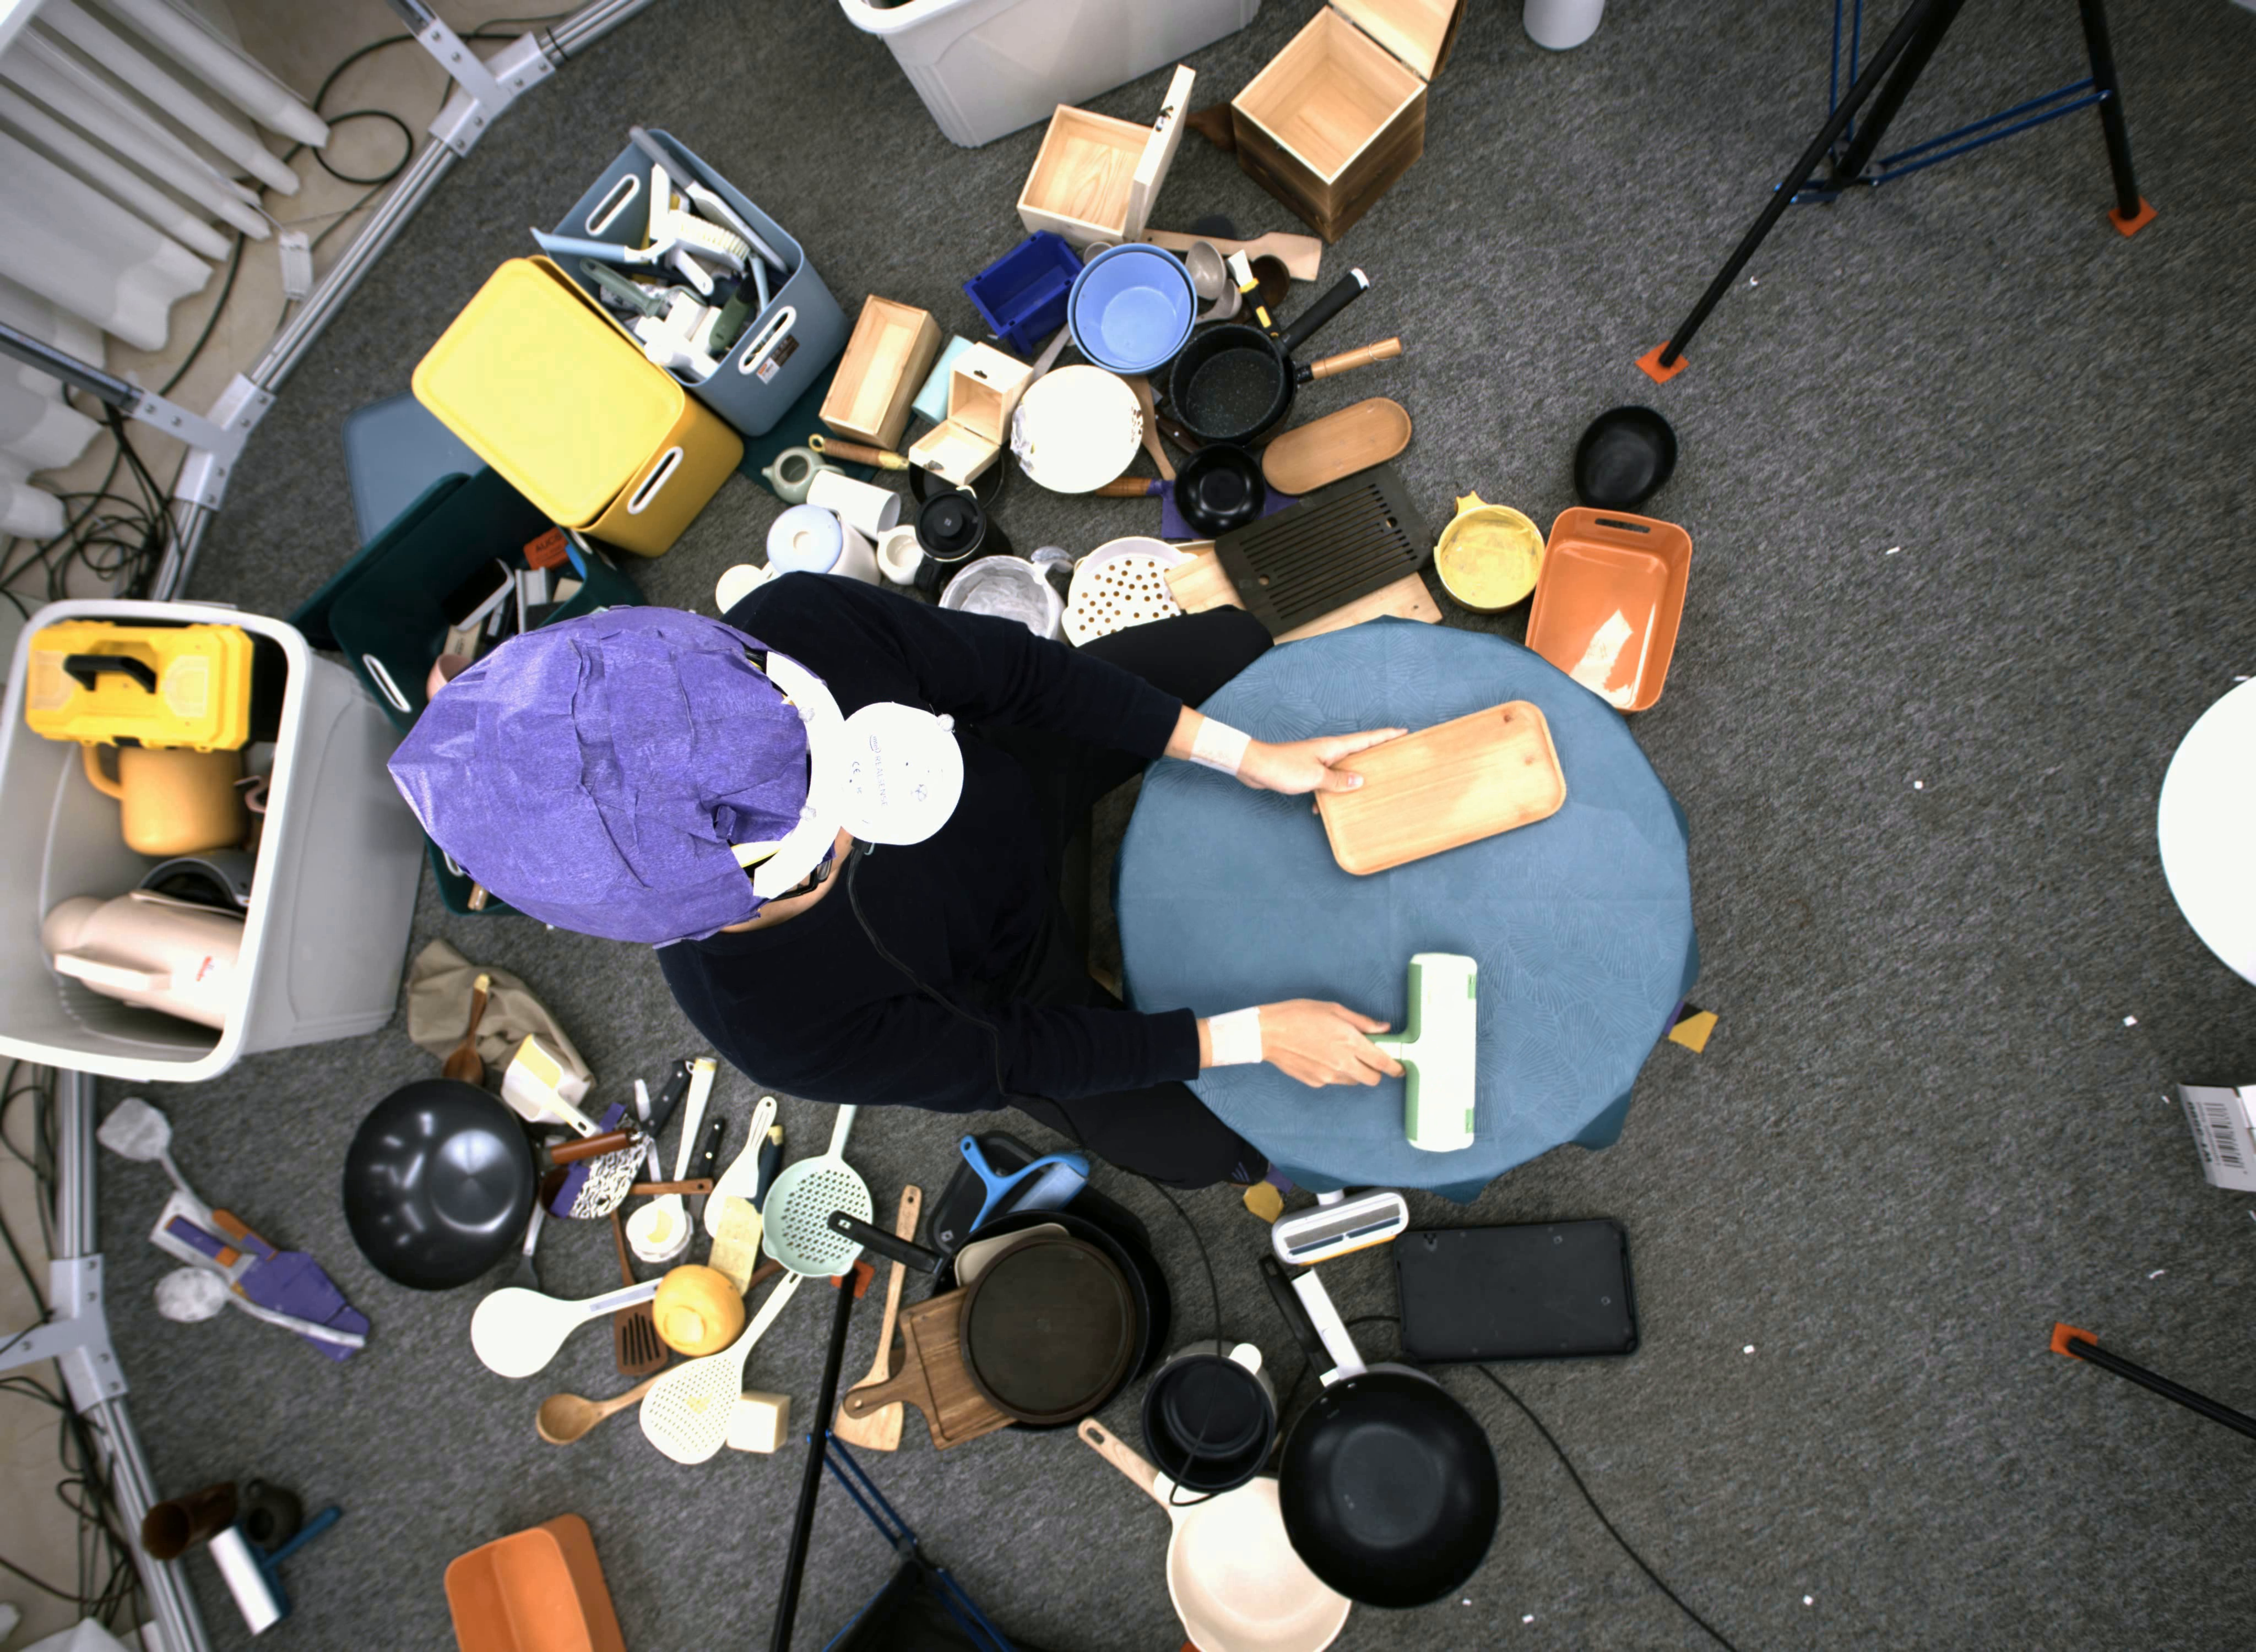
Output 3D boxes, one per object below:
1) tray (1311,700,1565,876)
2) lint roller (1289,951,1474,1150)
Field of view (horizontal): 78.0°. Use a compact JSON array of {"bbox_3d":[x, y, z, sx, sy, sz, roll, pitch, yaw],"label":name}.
[{"bbox_3d":[0.321,-0.040,1.431,0.252,0.023,0.131,-17,93,7],"label":"tray"},{"bbox_3d":[0.258,0.226,1.392,0.183,0.082,0.198,-1,92,-3],"label":"lint roller"}]
